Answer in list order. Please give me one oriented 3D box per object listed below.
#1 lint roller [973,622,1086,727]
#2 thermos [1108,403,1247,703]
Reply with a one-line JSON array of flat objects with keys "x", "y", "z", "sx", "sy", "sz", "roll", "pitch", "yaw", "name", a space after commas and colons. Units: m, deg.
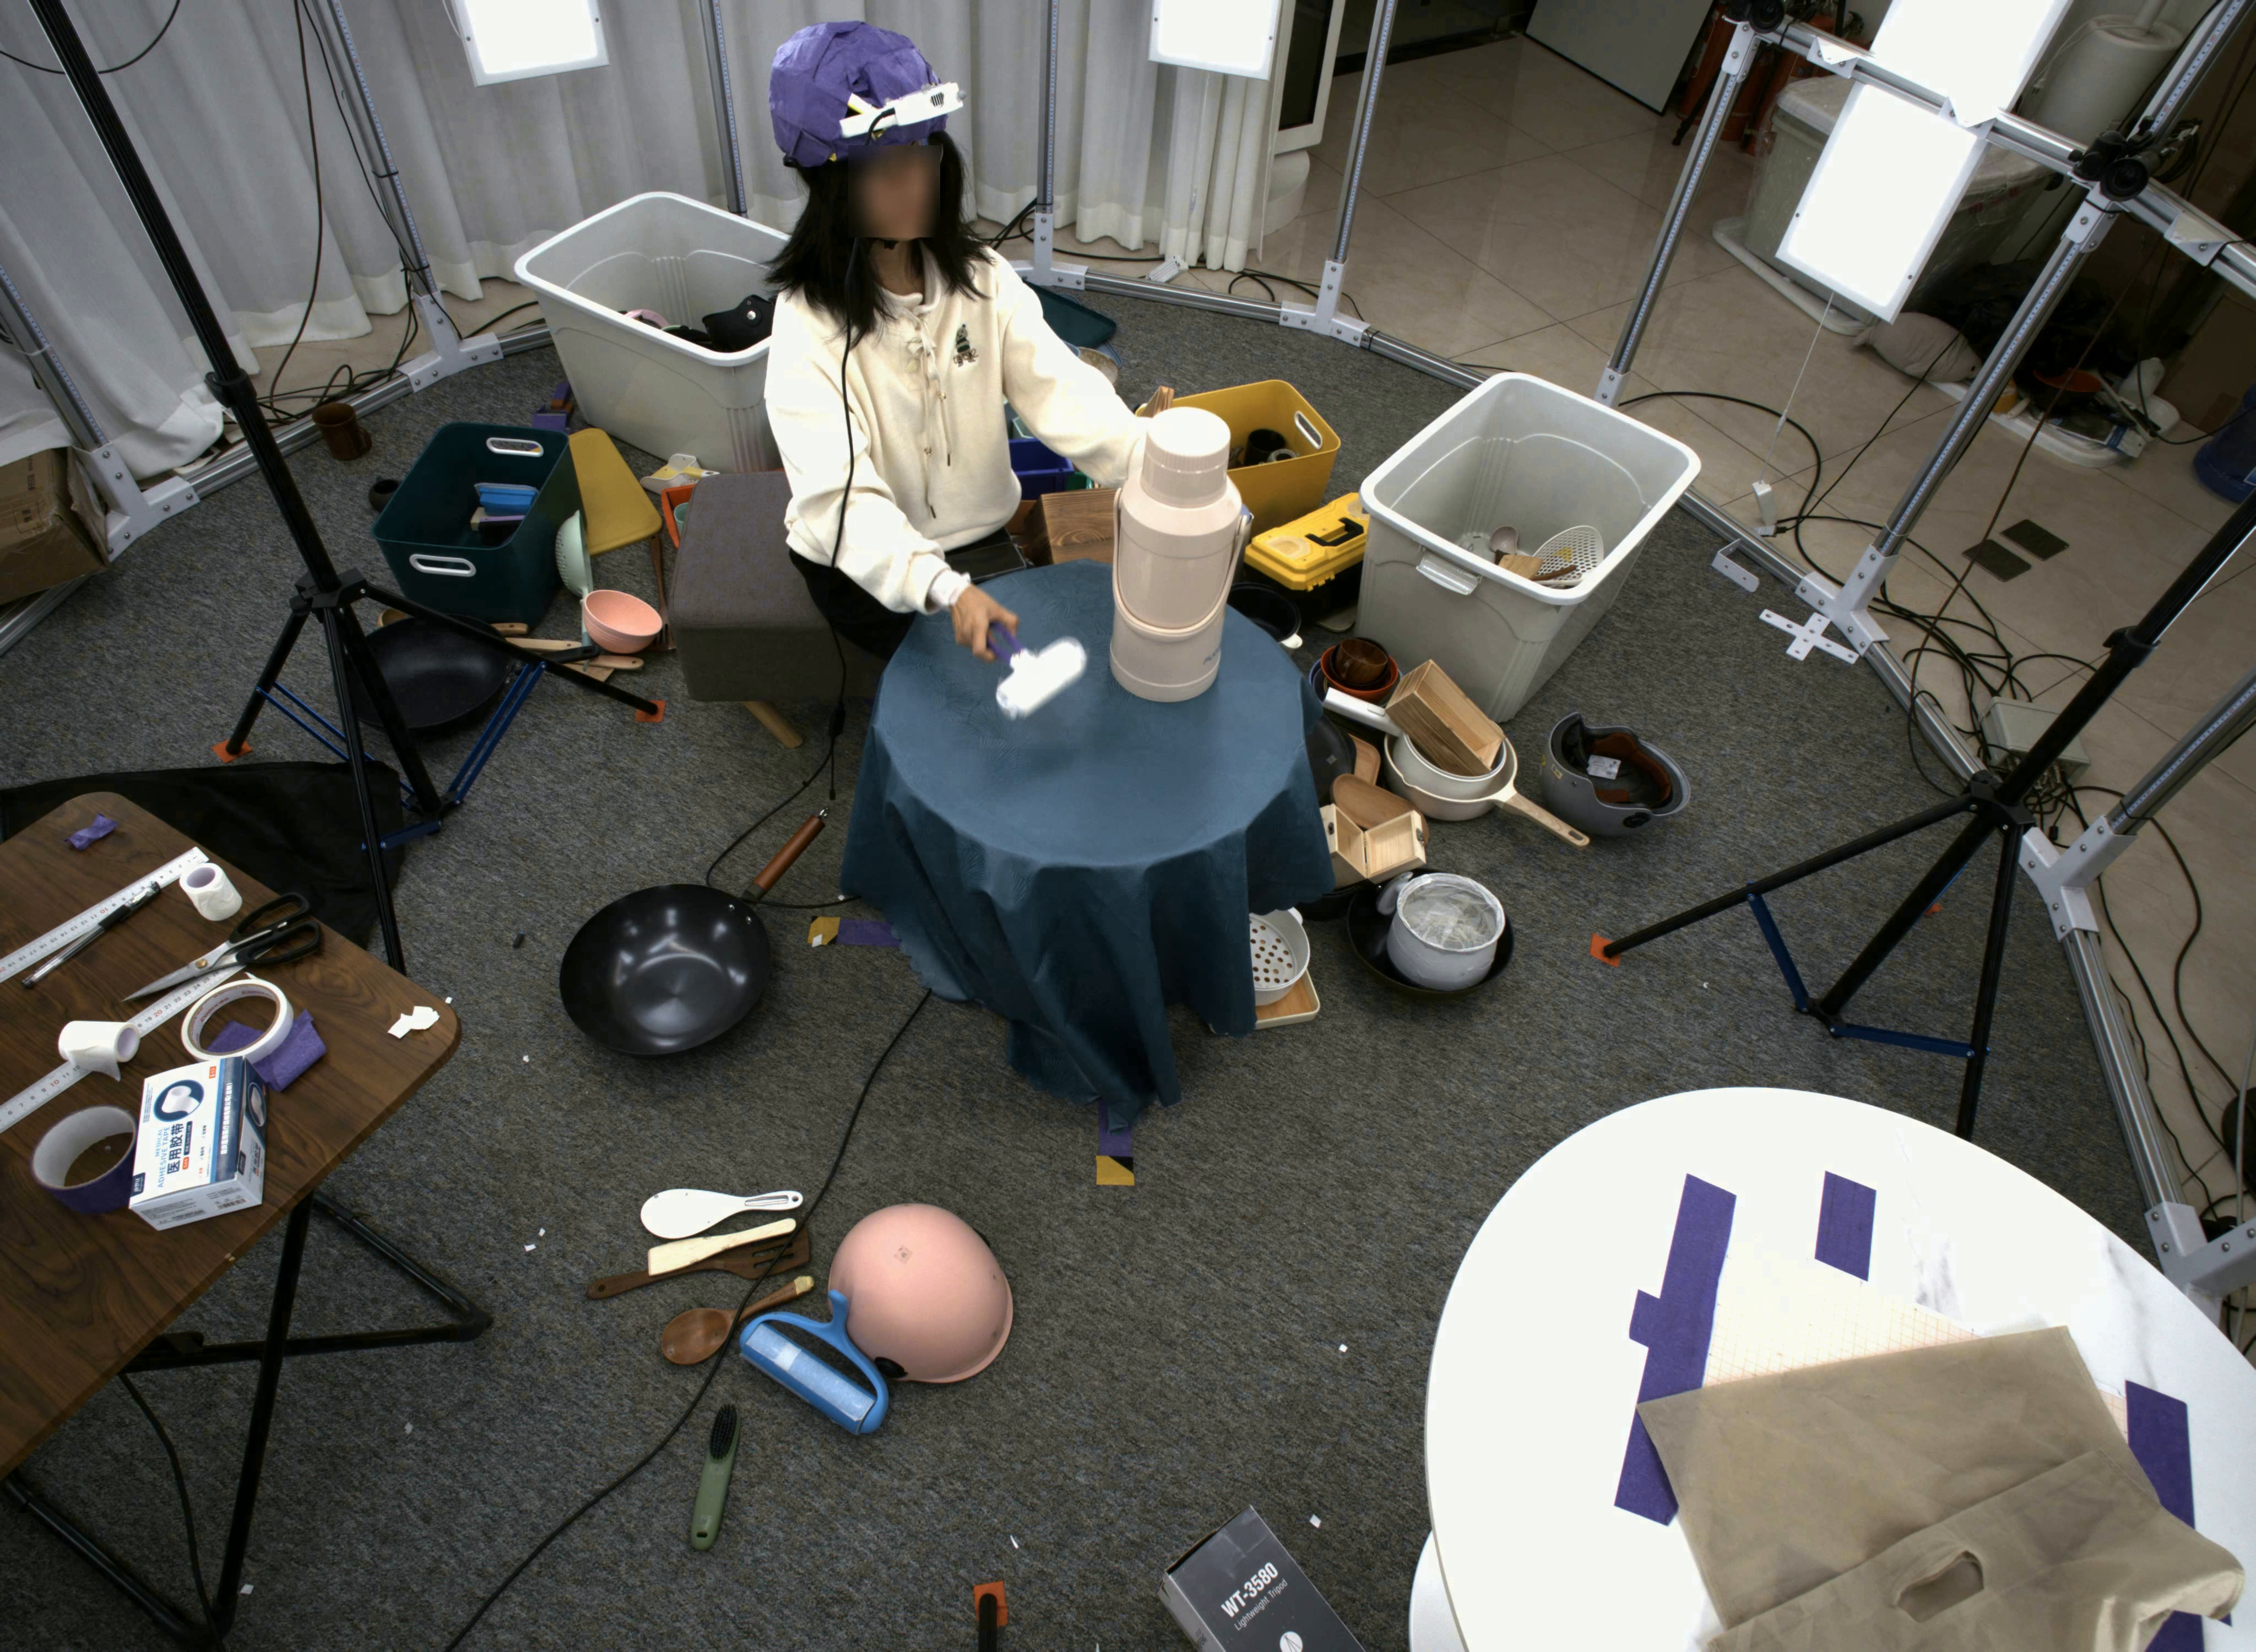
[{"x": -0.152, "y": -0.225, "z": 1.735, "sx": 0.133, "sy": 0.049, "sz": 0.184, "roll": -34, "pitch": 67, "yaw": -14, "name": "lint roller"}, {"x": 0.068, "y": -0.371, "z": 1.741, "sx": 0.176, "sy": 0.396, "sz": 0.211, "roll": 14, "pitch": 50, "yaw": 8, "name": "thermos"}]
